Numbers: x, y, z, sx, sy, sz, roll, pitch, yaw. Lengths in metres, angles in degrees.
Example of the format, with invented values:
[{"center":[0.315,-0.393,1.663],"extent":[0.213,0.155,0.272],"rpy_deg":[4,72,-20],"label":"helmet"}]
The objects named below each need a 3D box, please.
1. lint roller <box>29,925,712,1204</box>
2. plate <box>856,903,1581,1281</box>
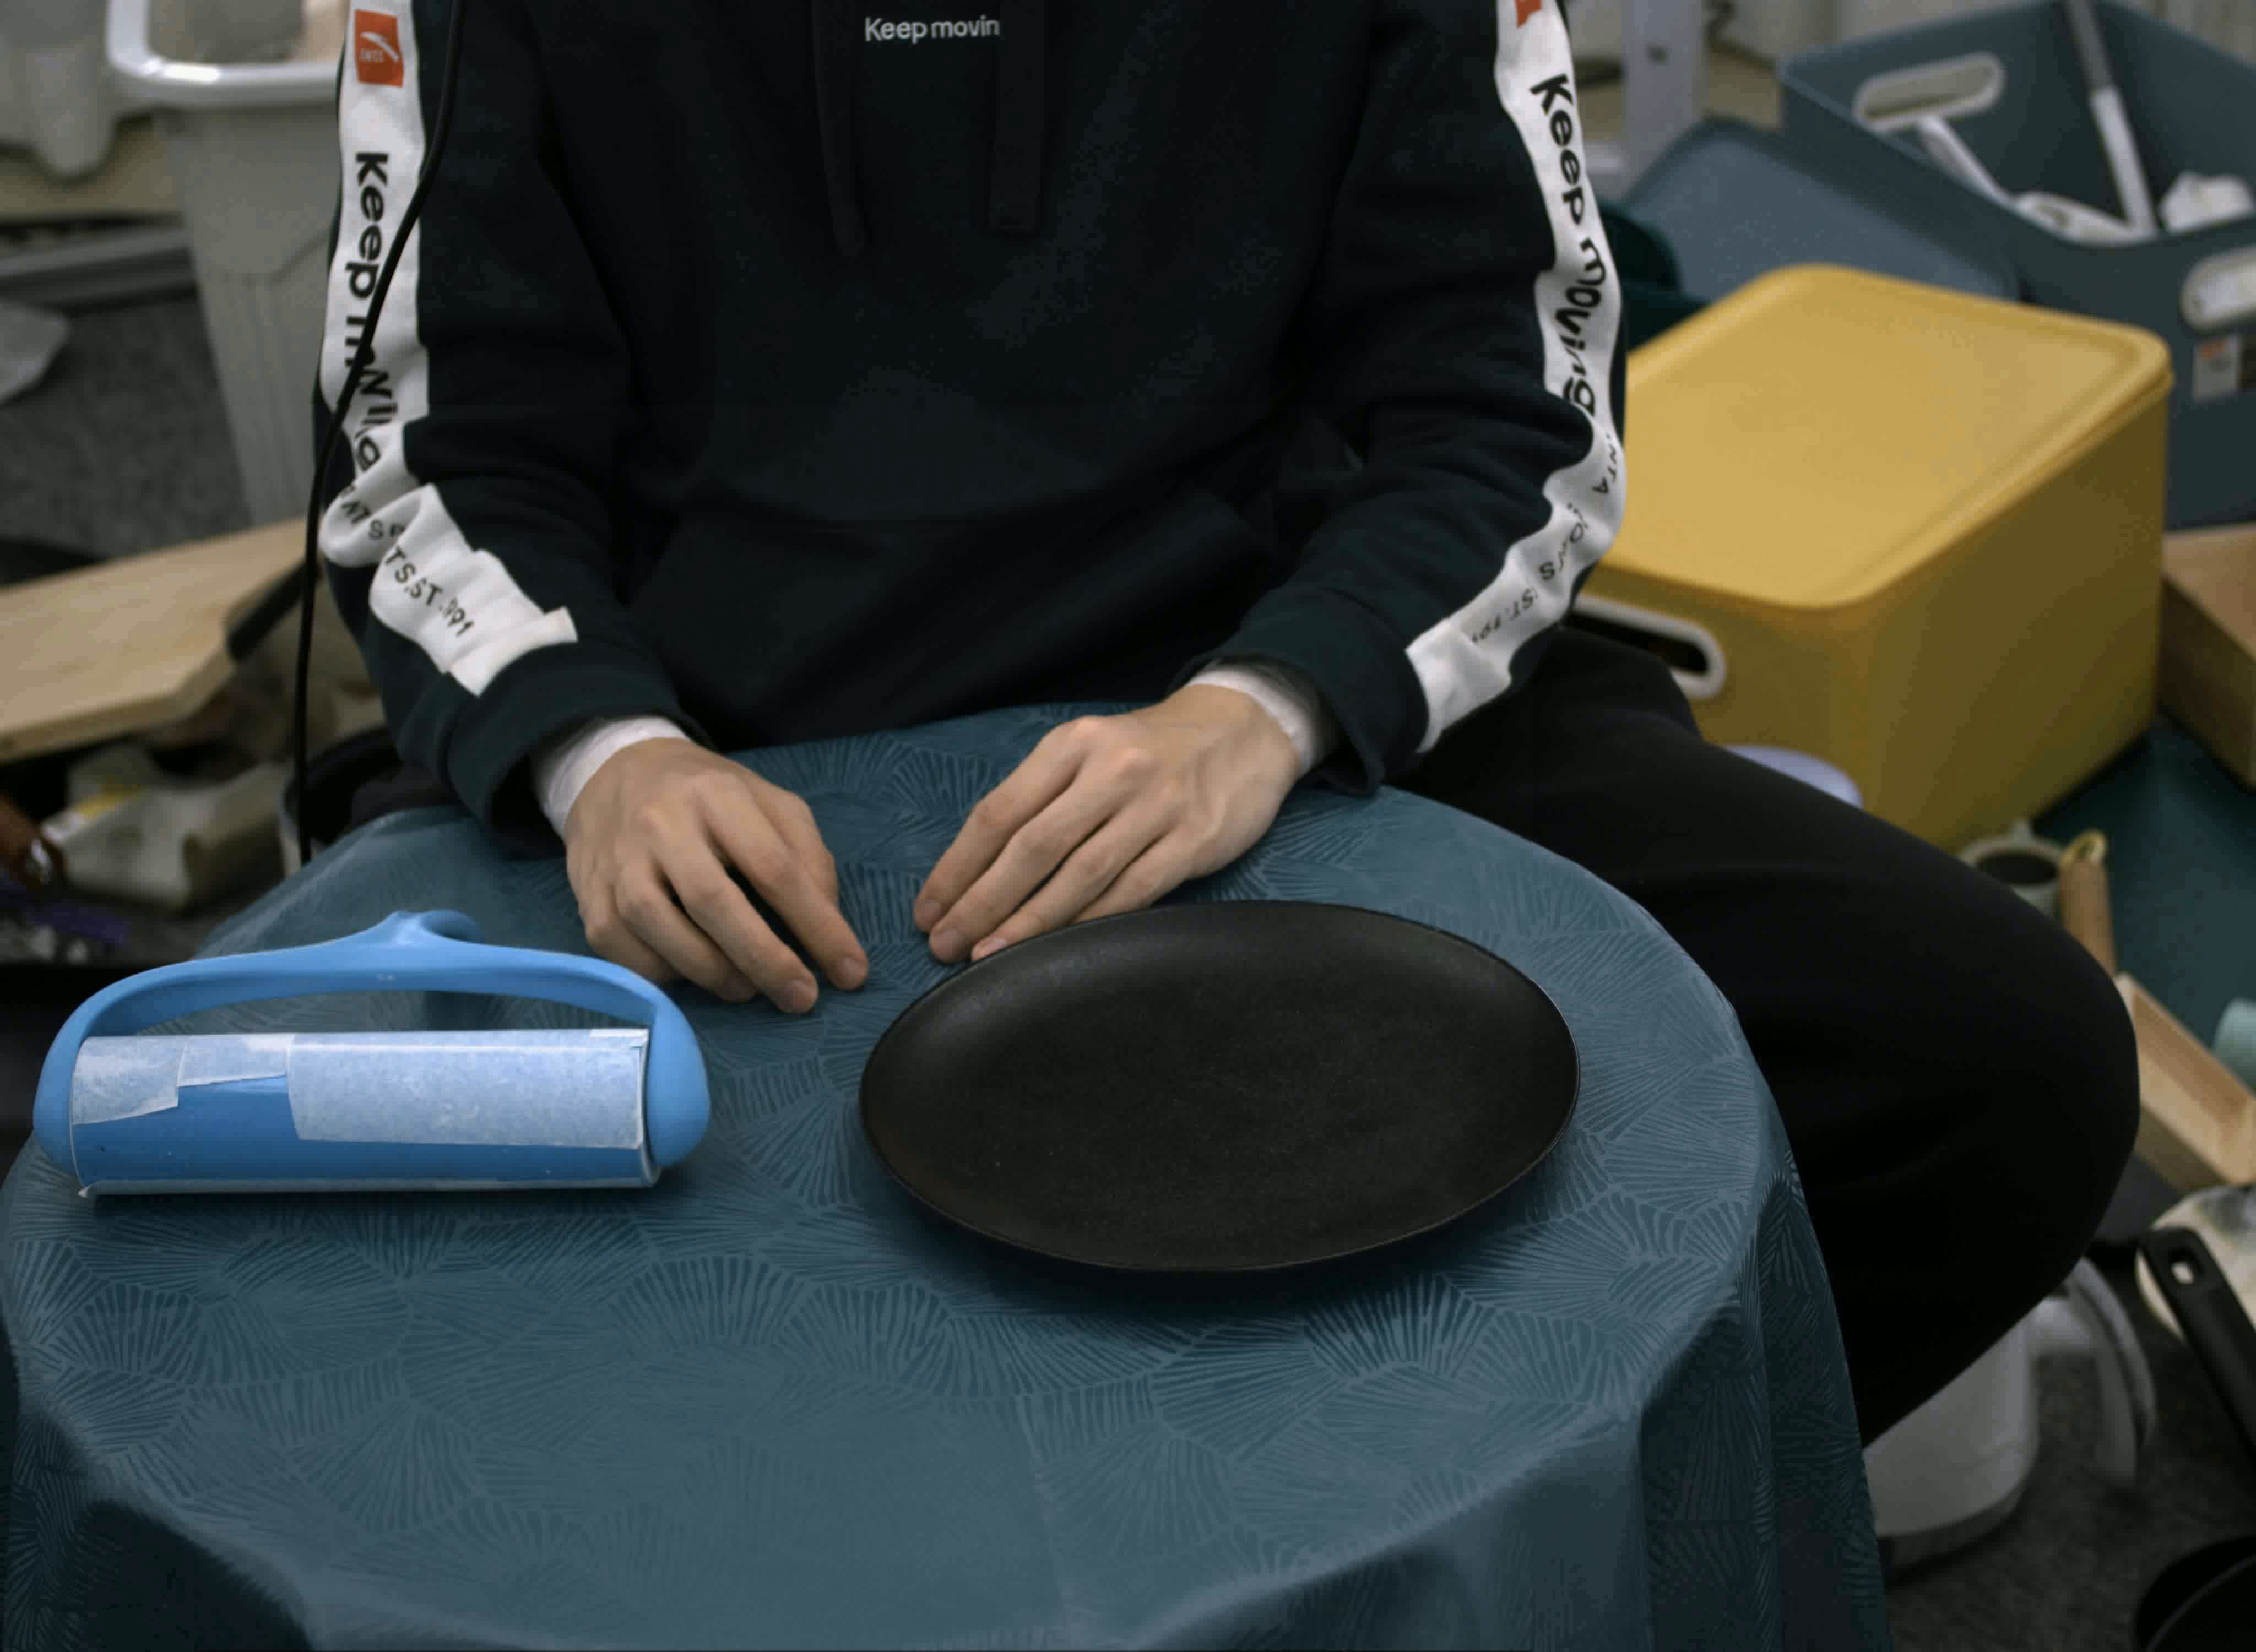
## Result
[{"center":[-0.252,0.069,1.927],"extent":[0.228,0.067,0.183],"rpy_deg":[-3,28,2],"label":"lint roller"},{"center":[0.031,0.094,1.886],"extent":[0.243,0.023,0.248],"rpy_deg":[-2,27,1],"label":"plate"}]
